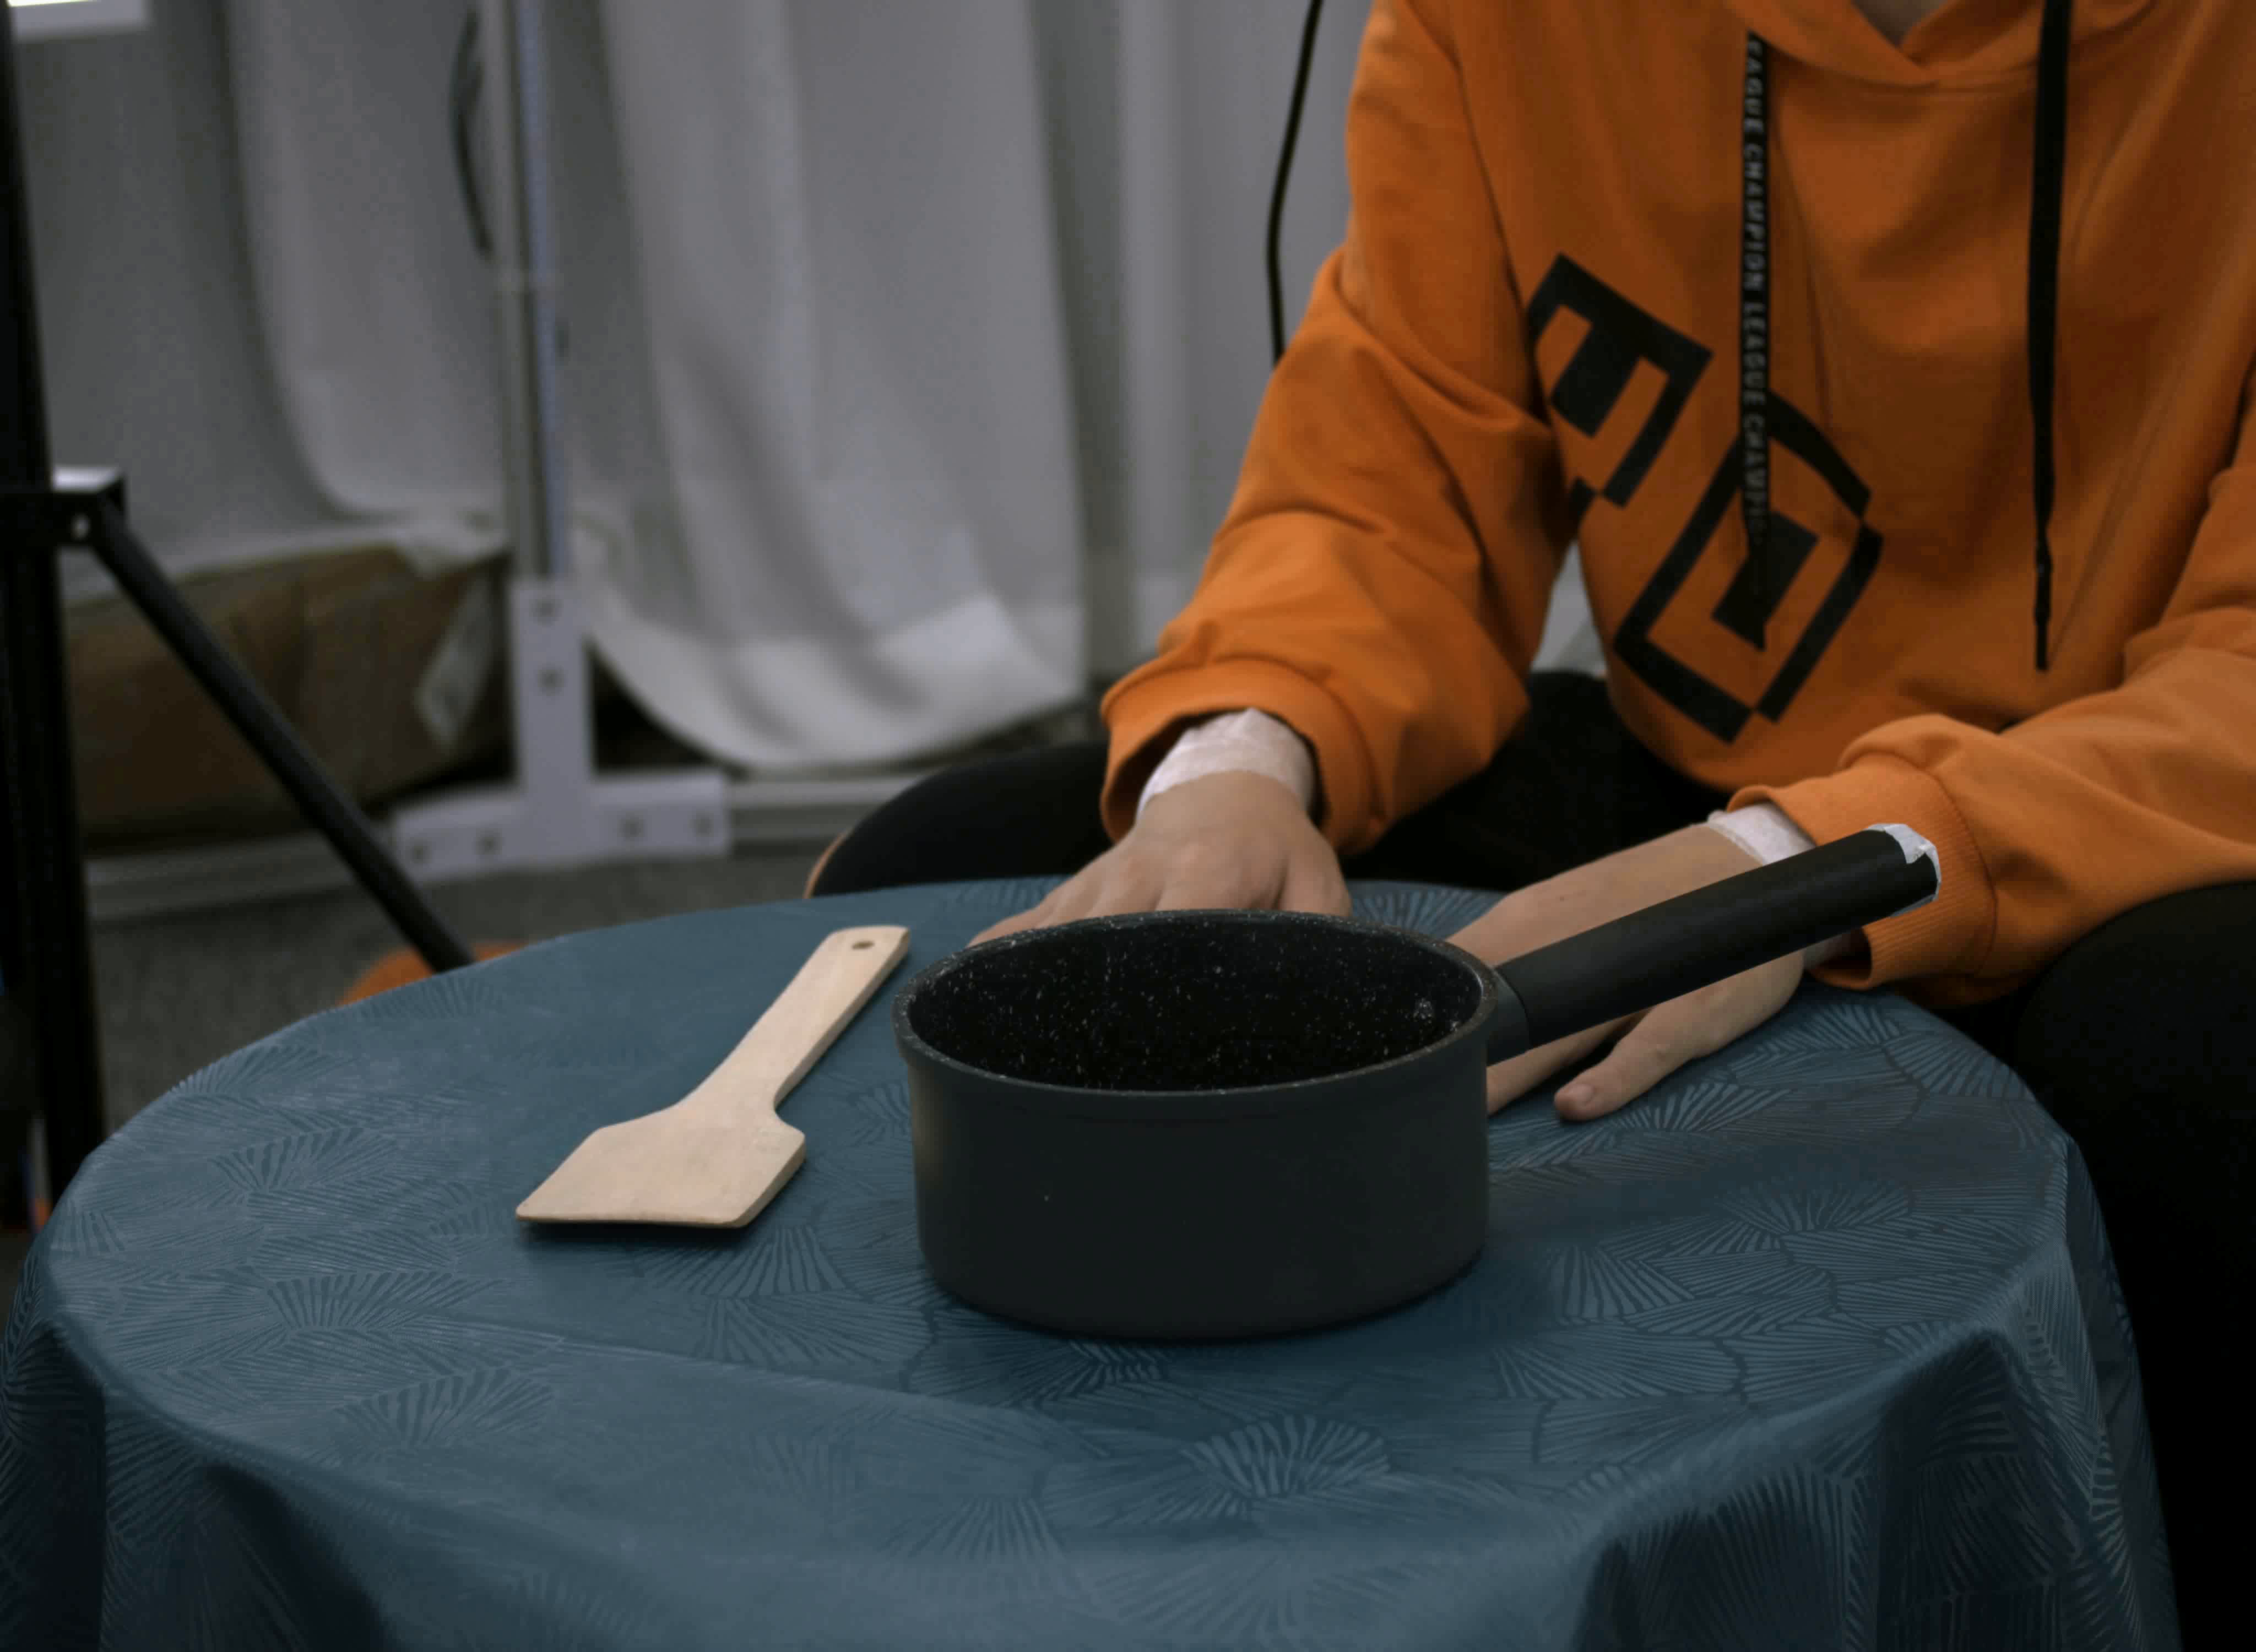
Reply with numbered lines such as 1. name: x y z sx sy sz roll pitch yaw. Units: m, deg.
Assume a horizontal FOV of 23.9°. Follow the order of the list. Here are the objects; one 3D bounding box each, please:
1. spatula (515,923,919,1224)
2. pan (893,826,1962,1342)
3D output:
1. spatula: -0.115 0.076 1.673 0.073 0.010 0.291 -2 16 14
2. pan: 0.093 0.069 1.525 0.323 0.086 0.175 -10 18 -20
